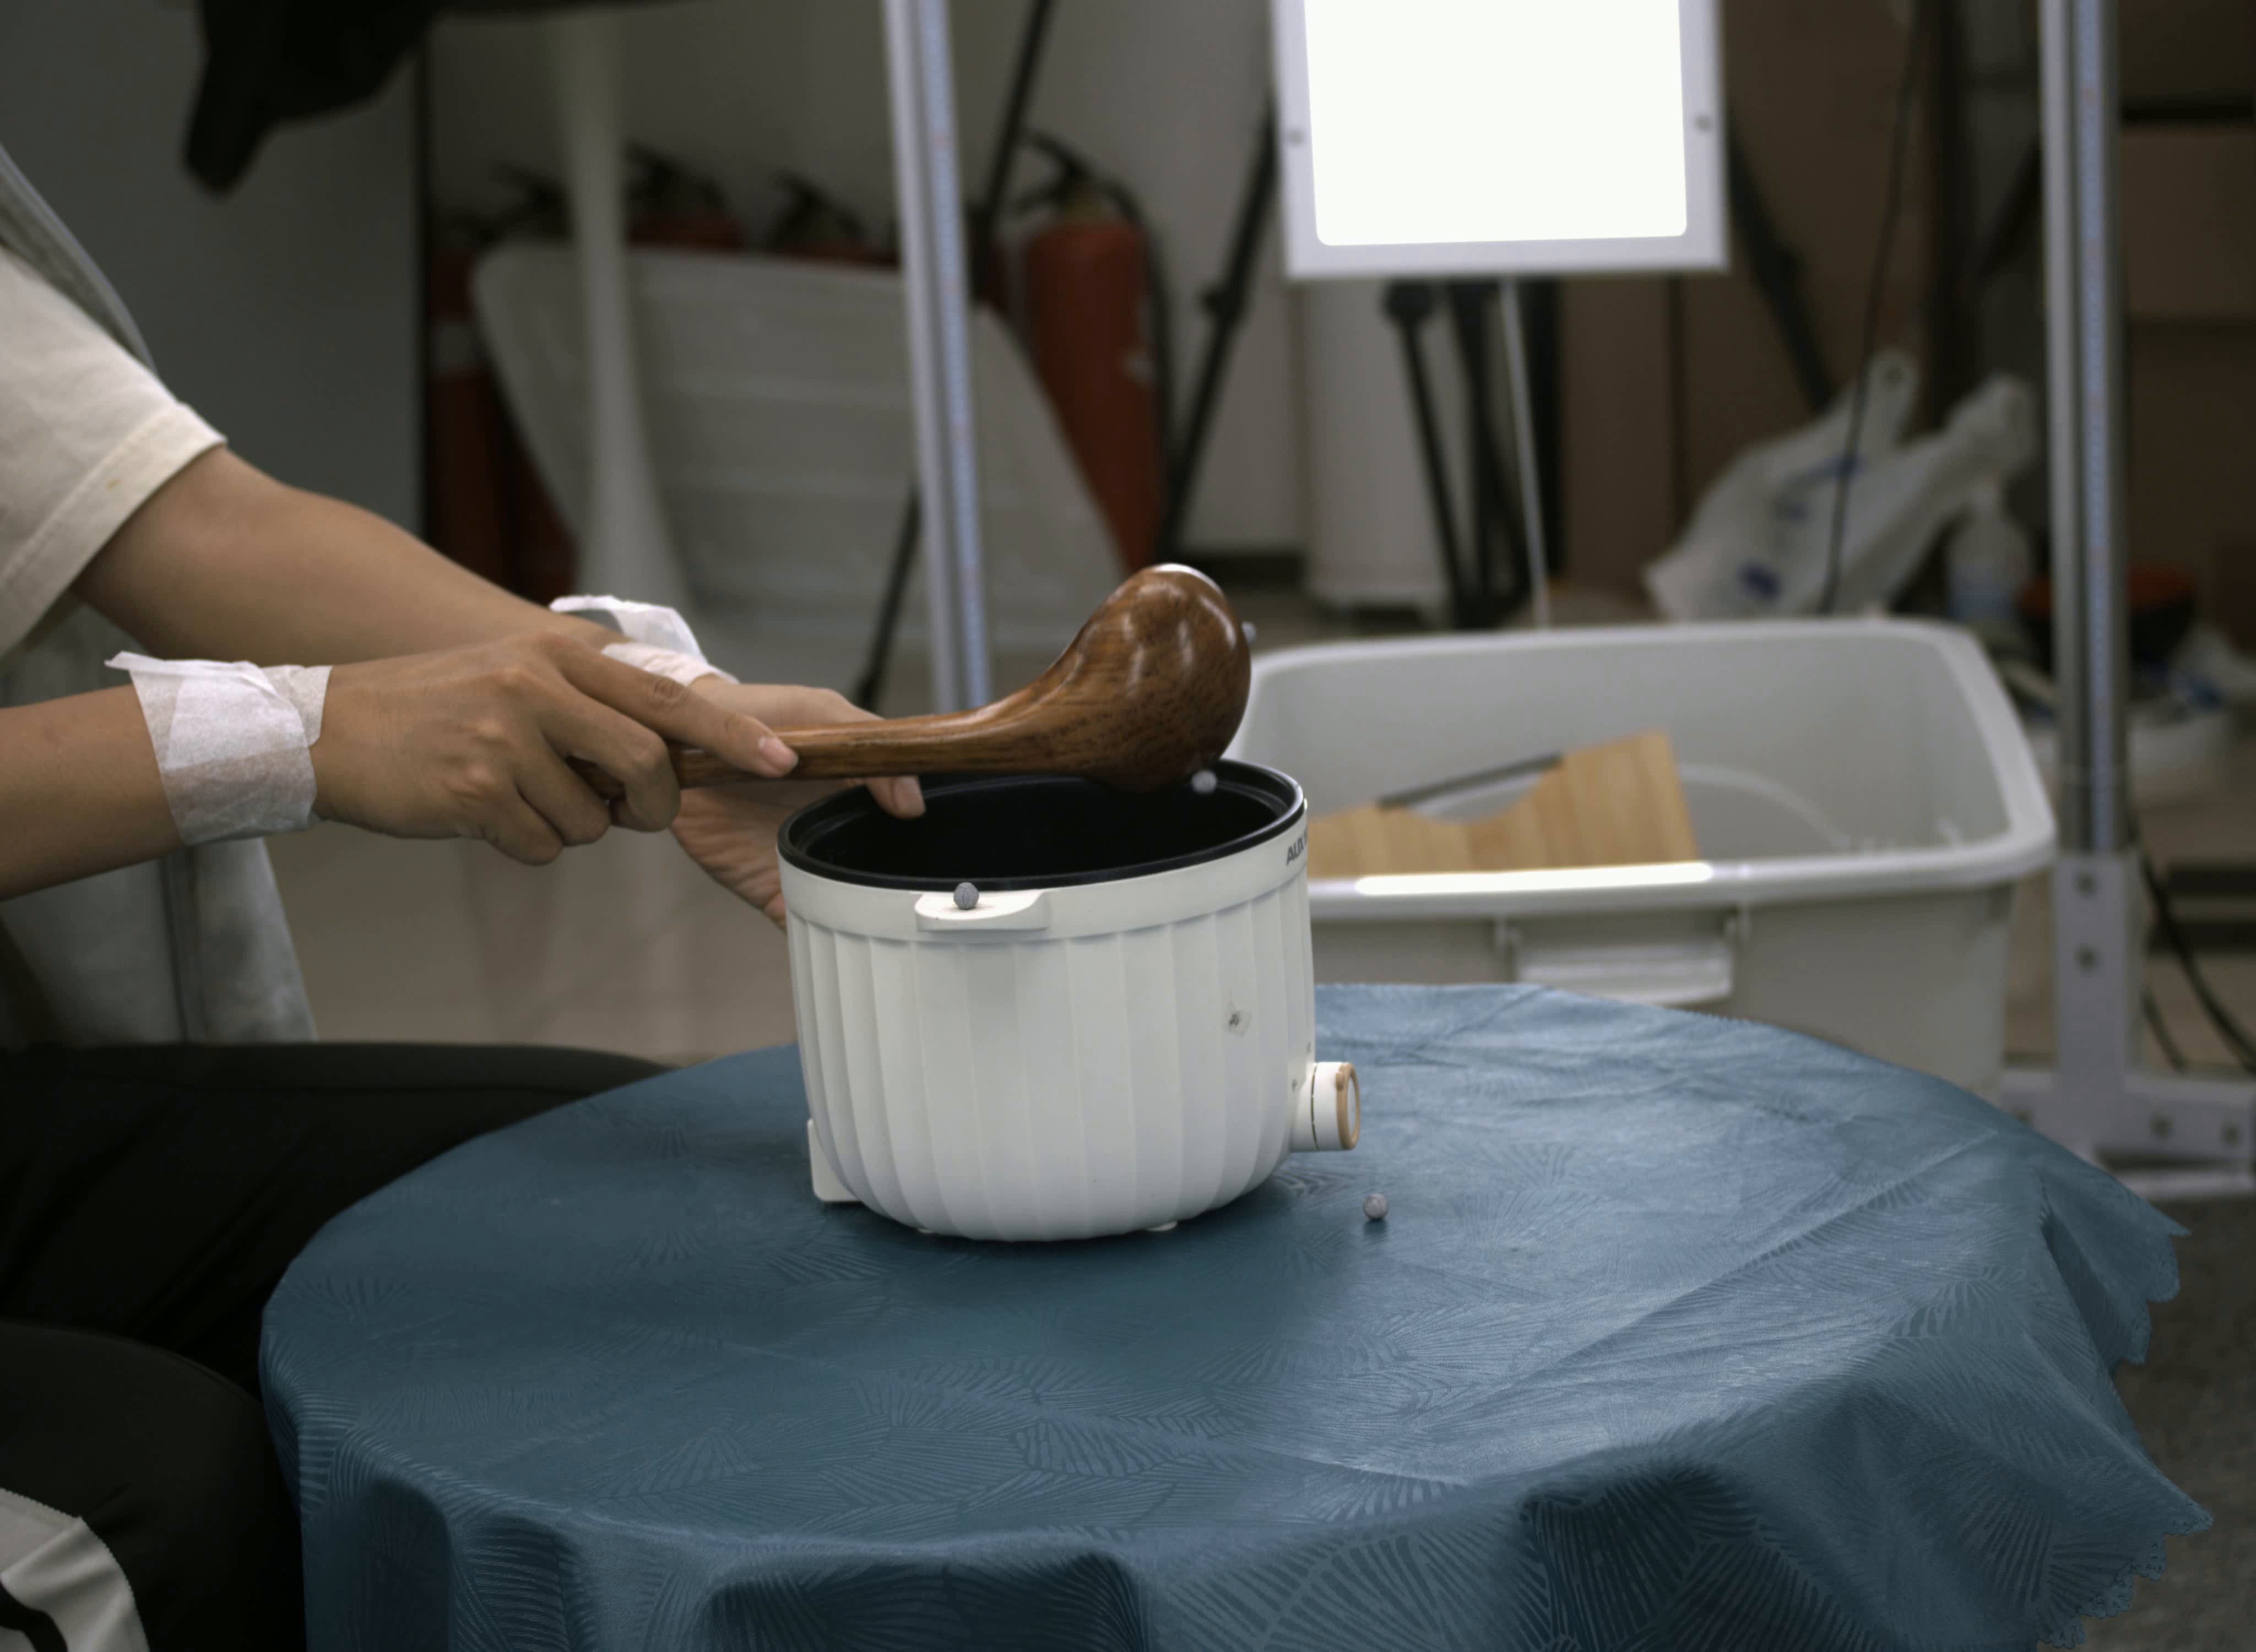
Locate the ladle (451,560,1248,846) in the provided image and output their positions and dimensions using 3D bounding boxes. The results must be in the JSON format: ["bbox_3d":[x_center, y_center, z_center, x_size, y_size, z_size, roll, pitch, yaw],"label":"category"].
[{"bbox_3d":[-0.095,-0.037,1.895,0.275,0.082,0.076,-7,23,8],"label":"ladle"}]

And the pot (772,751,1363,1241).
[{"bbox_3d":[-0.019,0.059,1.888,0.192,0.143,0.237,-5,14,14],"label":"pot"}]
